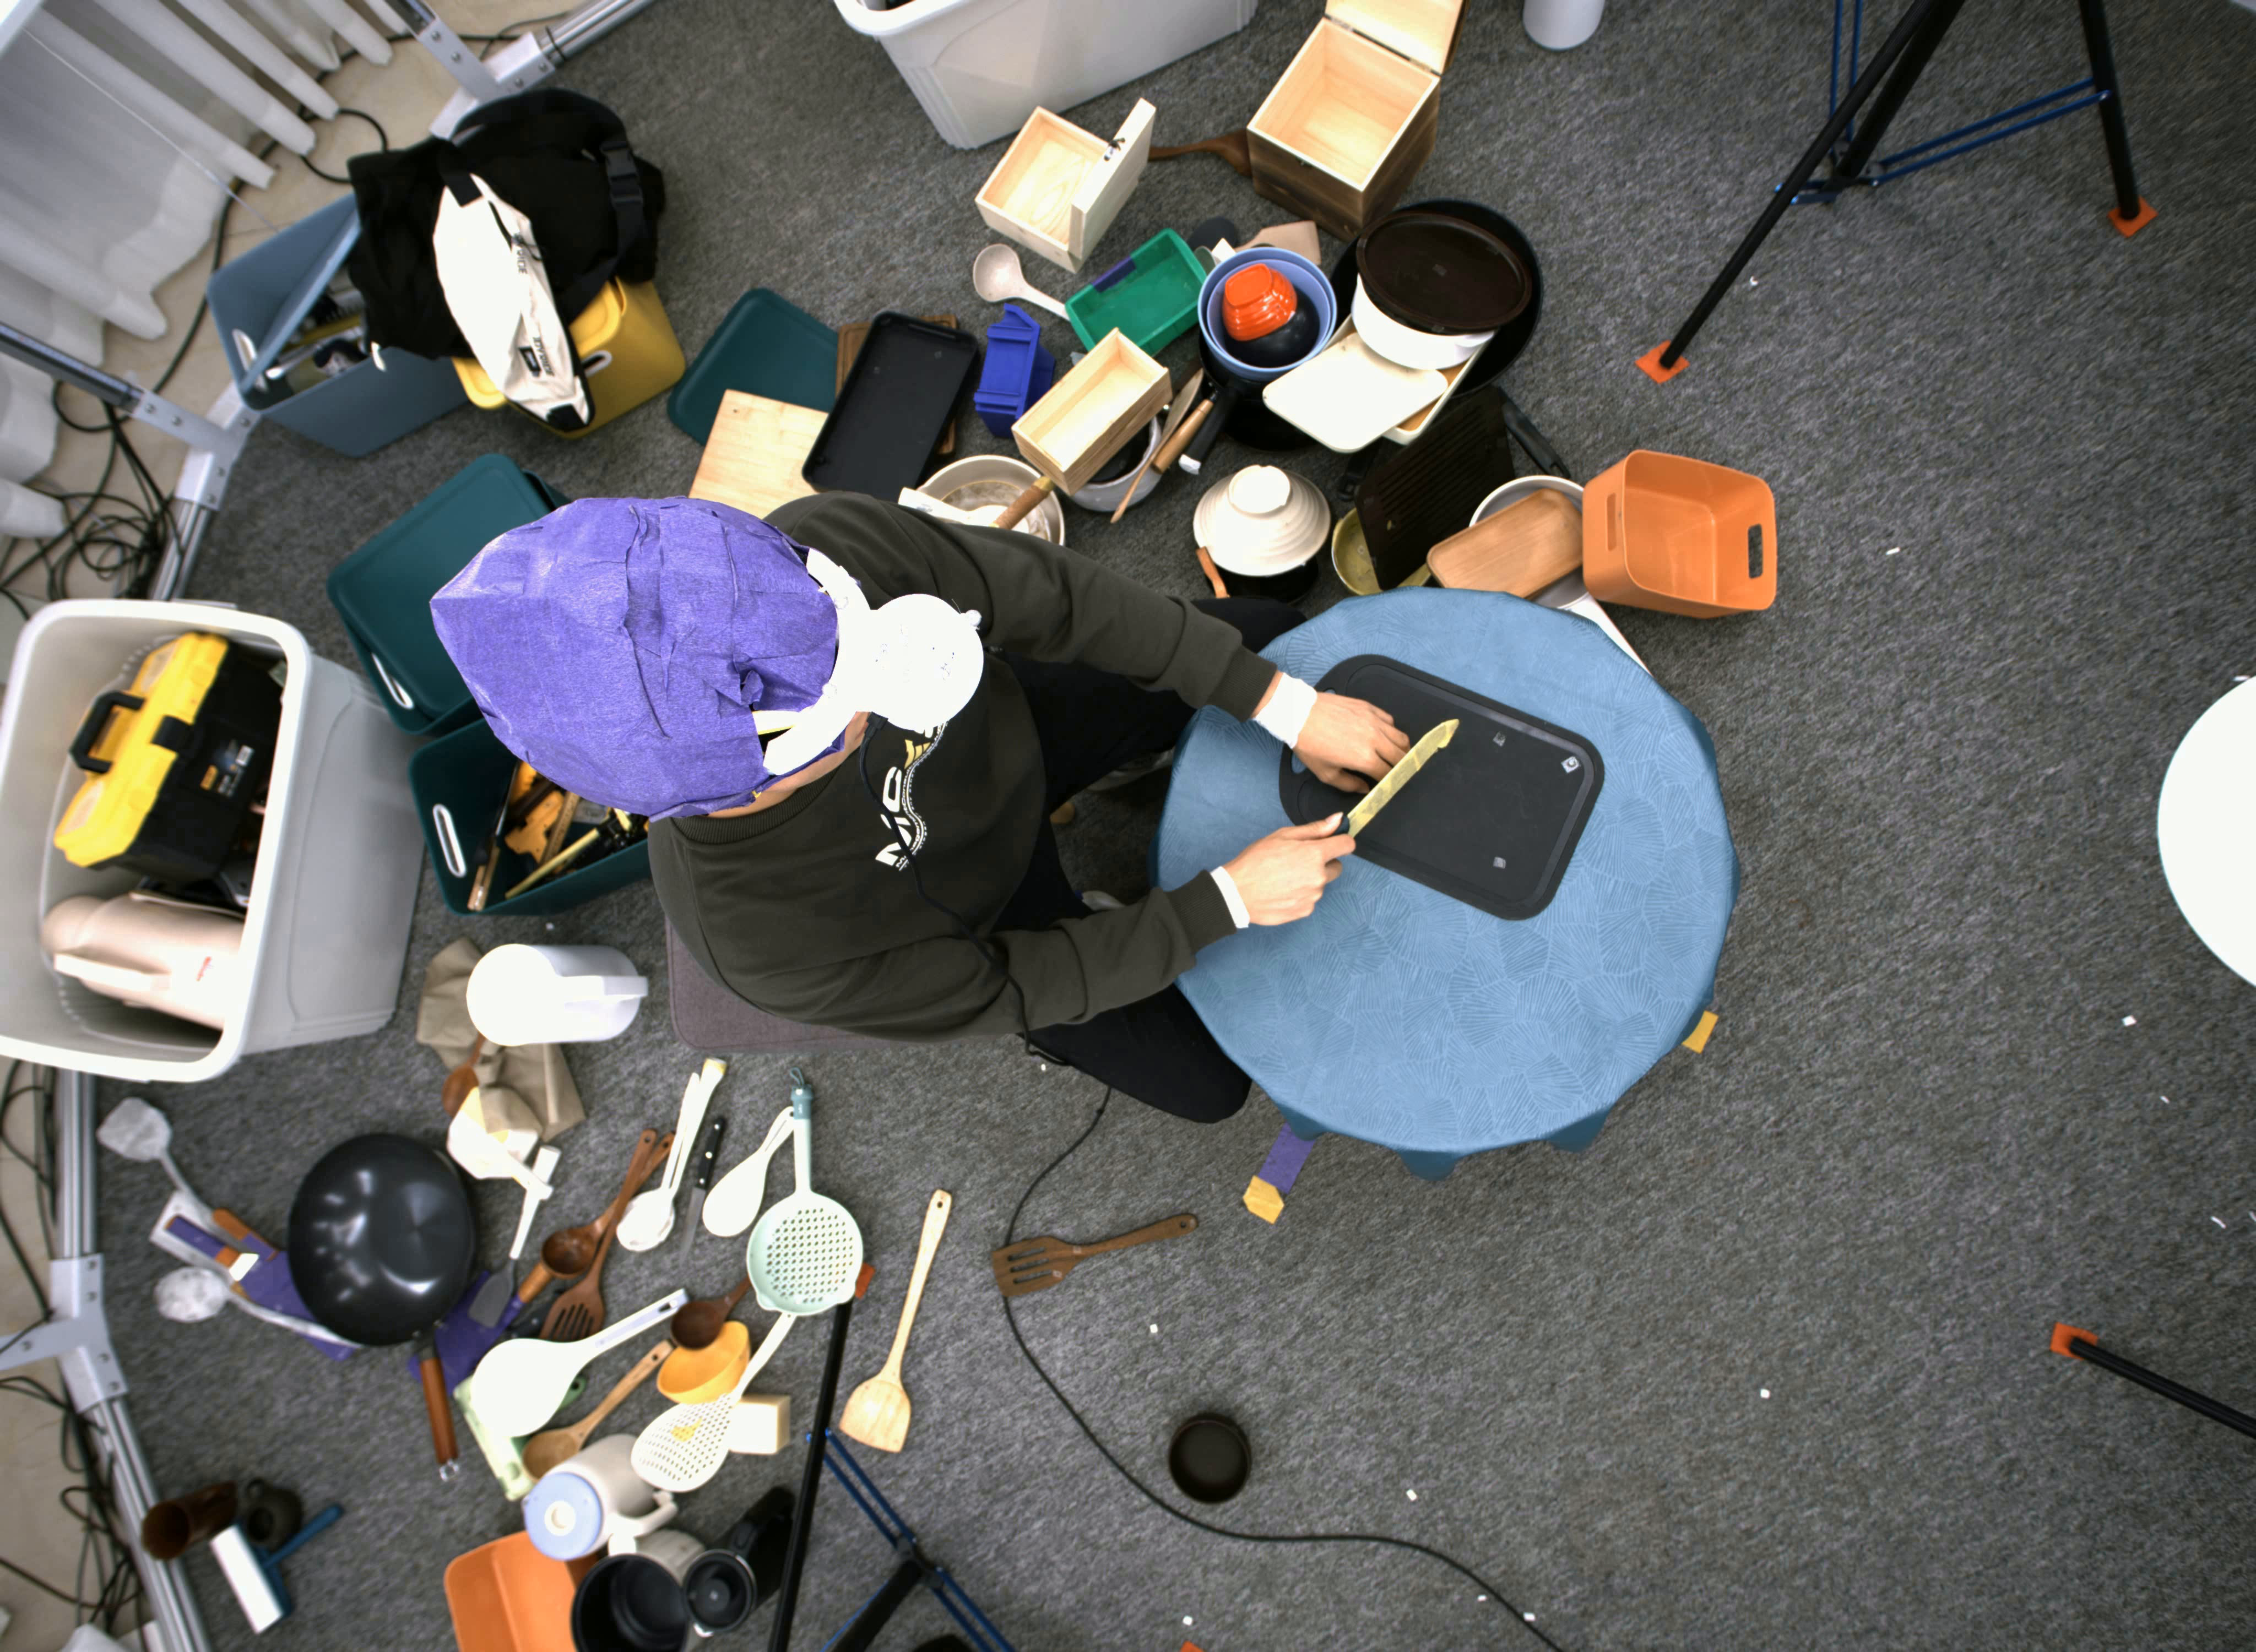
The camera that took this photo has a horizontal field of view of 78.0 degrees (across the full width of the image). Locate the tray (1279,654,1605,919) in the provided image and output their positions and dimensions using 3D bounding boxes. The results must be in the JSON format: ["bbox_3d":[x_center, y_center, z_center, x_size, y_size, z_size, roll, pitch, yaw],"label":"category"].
[{"bbox_3d":[0.322,-0.049,1.453,0.325,0.010,0.211,24,91,11],"label":"tray"}]

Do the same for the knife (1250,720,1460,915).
[{"bbox_3d":[0.236,-0.011,1.415,0.290,0.082,0.027,-43,67,2],"label":"knife"}]
